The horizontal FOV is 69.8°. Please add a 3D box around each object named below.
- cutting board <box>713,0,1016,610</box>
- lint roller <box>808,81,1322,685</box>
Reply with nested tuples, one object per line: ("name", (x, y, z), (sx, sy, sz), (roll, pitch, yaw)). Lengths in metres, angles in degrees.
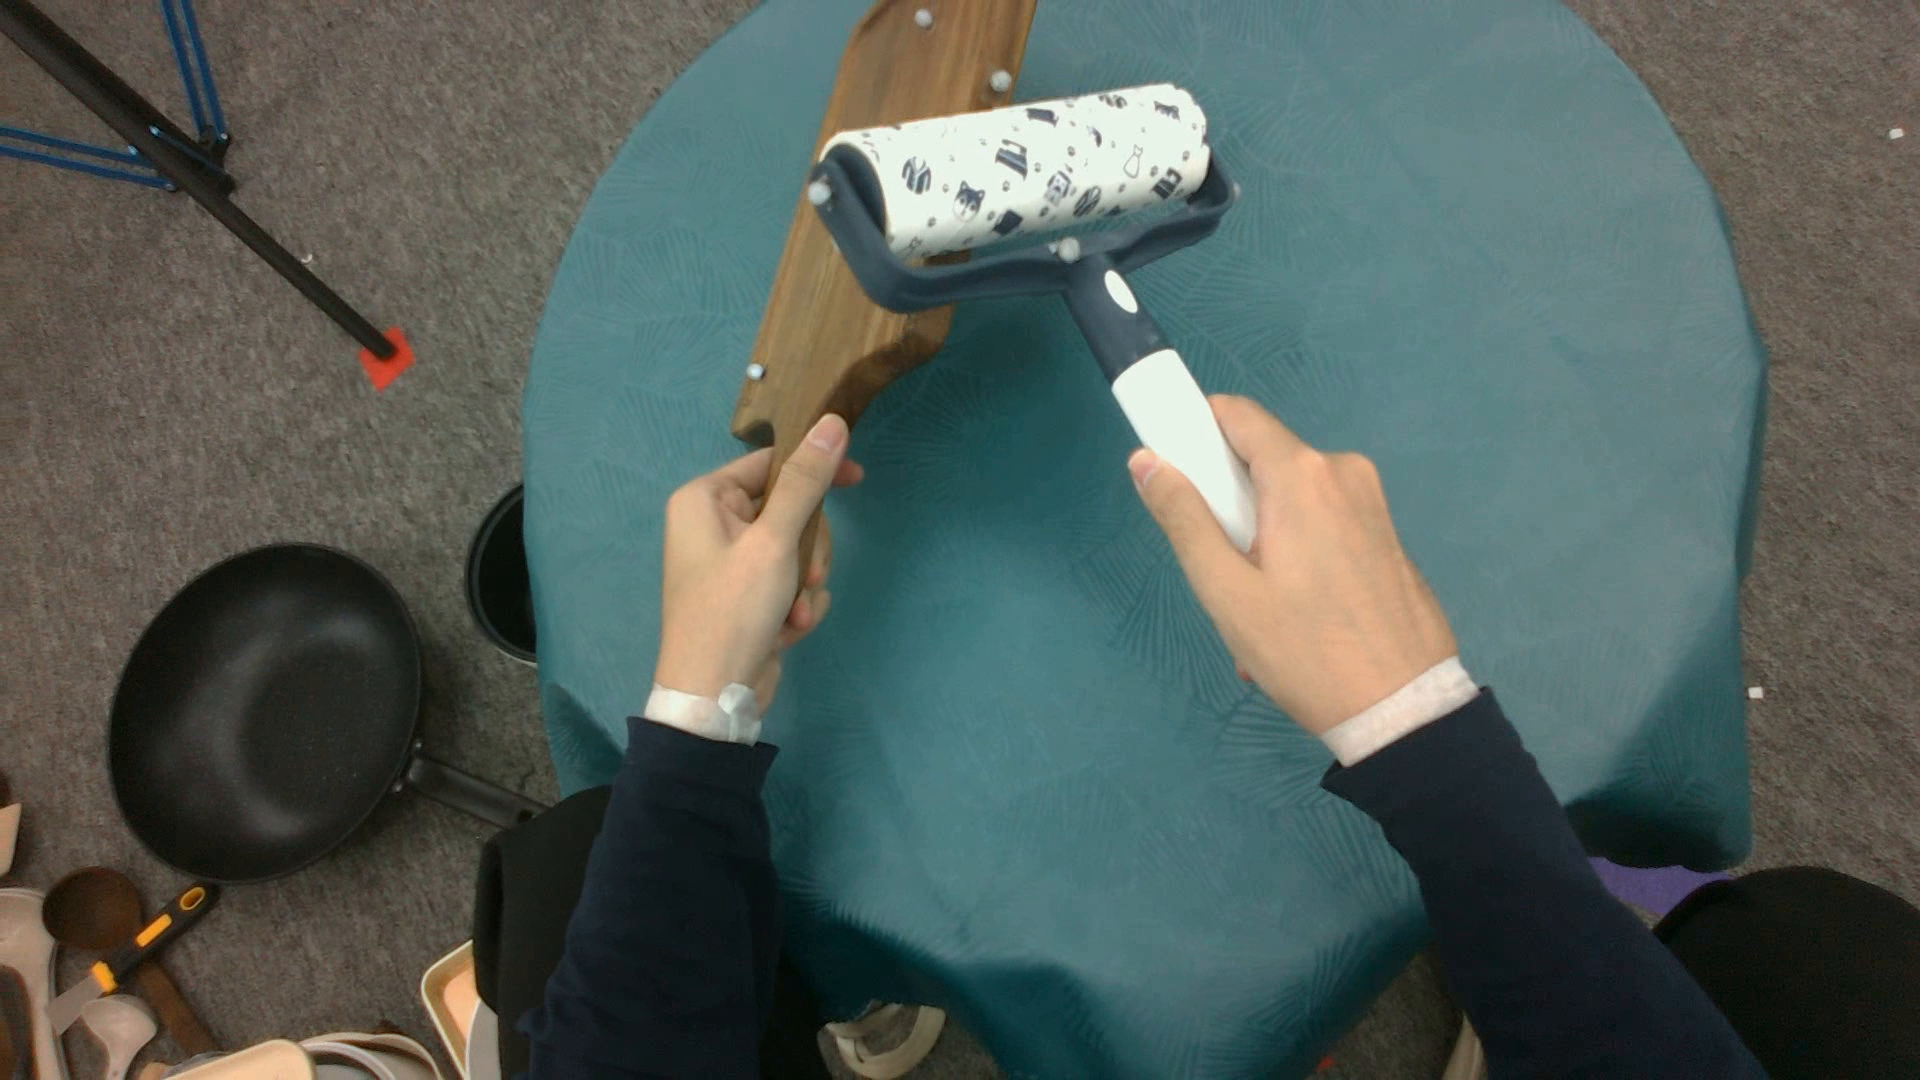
("cutting board", (-0.052, -0.137, 0.630), (0.023, 0.200, 0.353), (22, 71, -26))
("lint roller", (0.070, -0.061, 0.511), (0.177, 0.050, 0.247), (-21, 75, -36))
